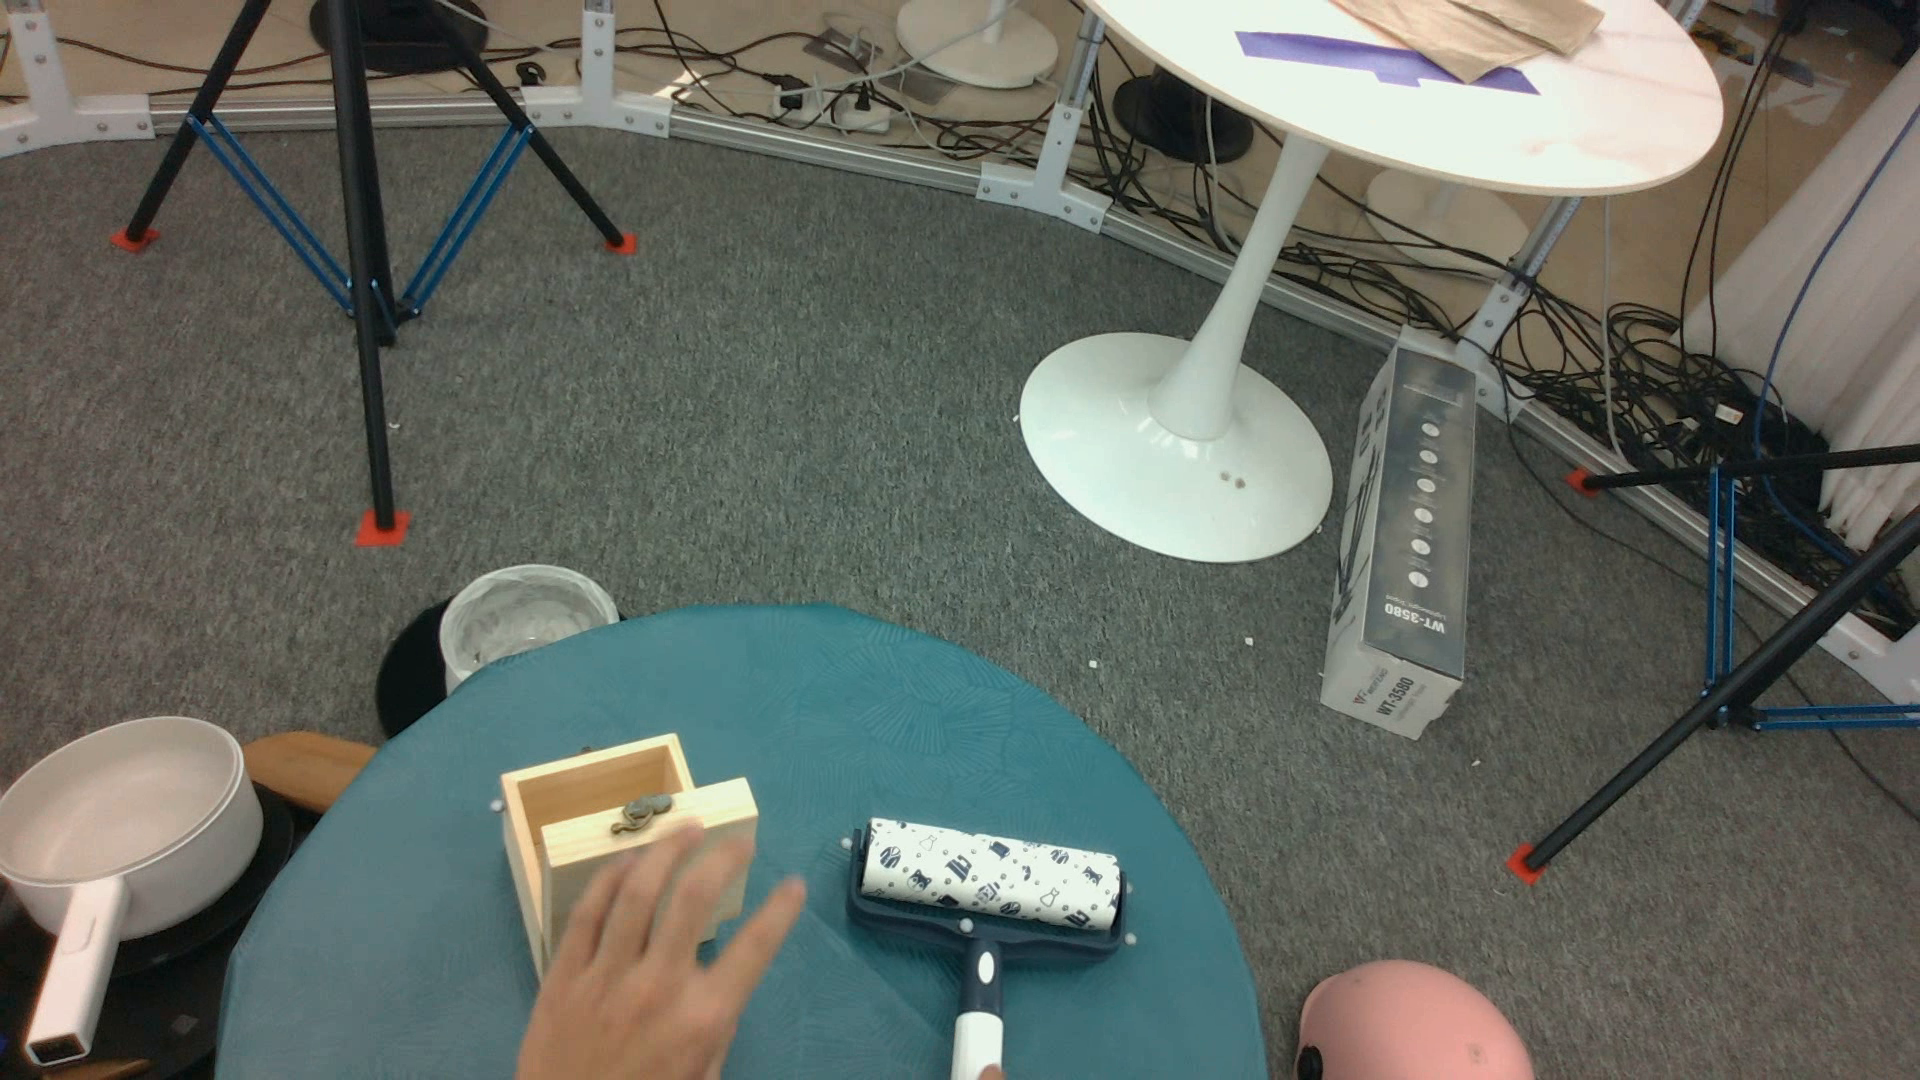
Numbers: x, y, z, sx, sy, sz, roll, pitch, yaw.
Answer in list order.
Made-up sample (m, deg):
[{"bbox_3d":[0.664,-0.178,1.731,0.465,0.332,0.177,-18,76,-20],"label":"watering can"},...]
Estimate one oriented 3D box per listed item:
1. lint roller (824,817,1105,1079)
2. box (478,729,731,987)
[{"bbox_3d":[0.001,0.284,0.798,0.176,0.050,0.248,11,47,-9],"label":"lint roller"},{"bbox_3d":[-0.201,0.156,0.758,0.103,0.183,0.134,-12,54,-25],"label":"box"}]
